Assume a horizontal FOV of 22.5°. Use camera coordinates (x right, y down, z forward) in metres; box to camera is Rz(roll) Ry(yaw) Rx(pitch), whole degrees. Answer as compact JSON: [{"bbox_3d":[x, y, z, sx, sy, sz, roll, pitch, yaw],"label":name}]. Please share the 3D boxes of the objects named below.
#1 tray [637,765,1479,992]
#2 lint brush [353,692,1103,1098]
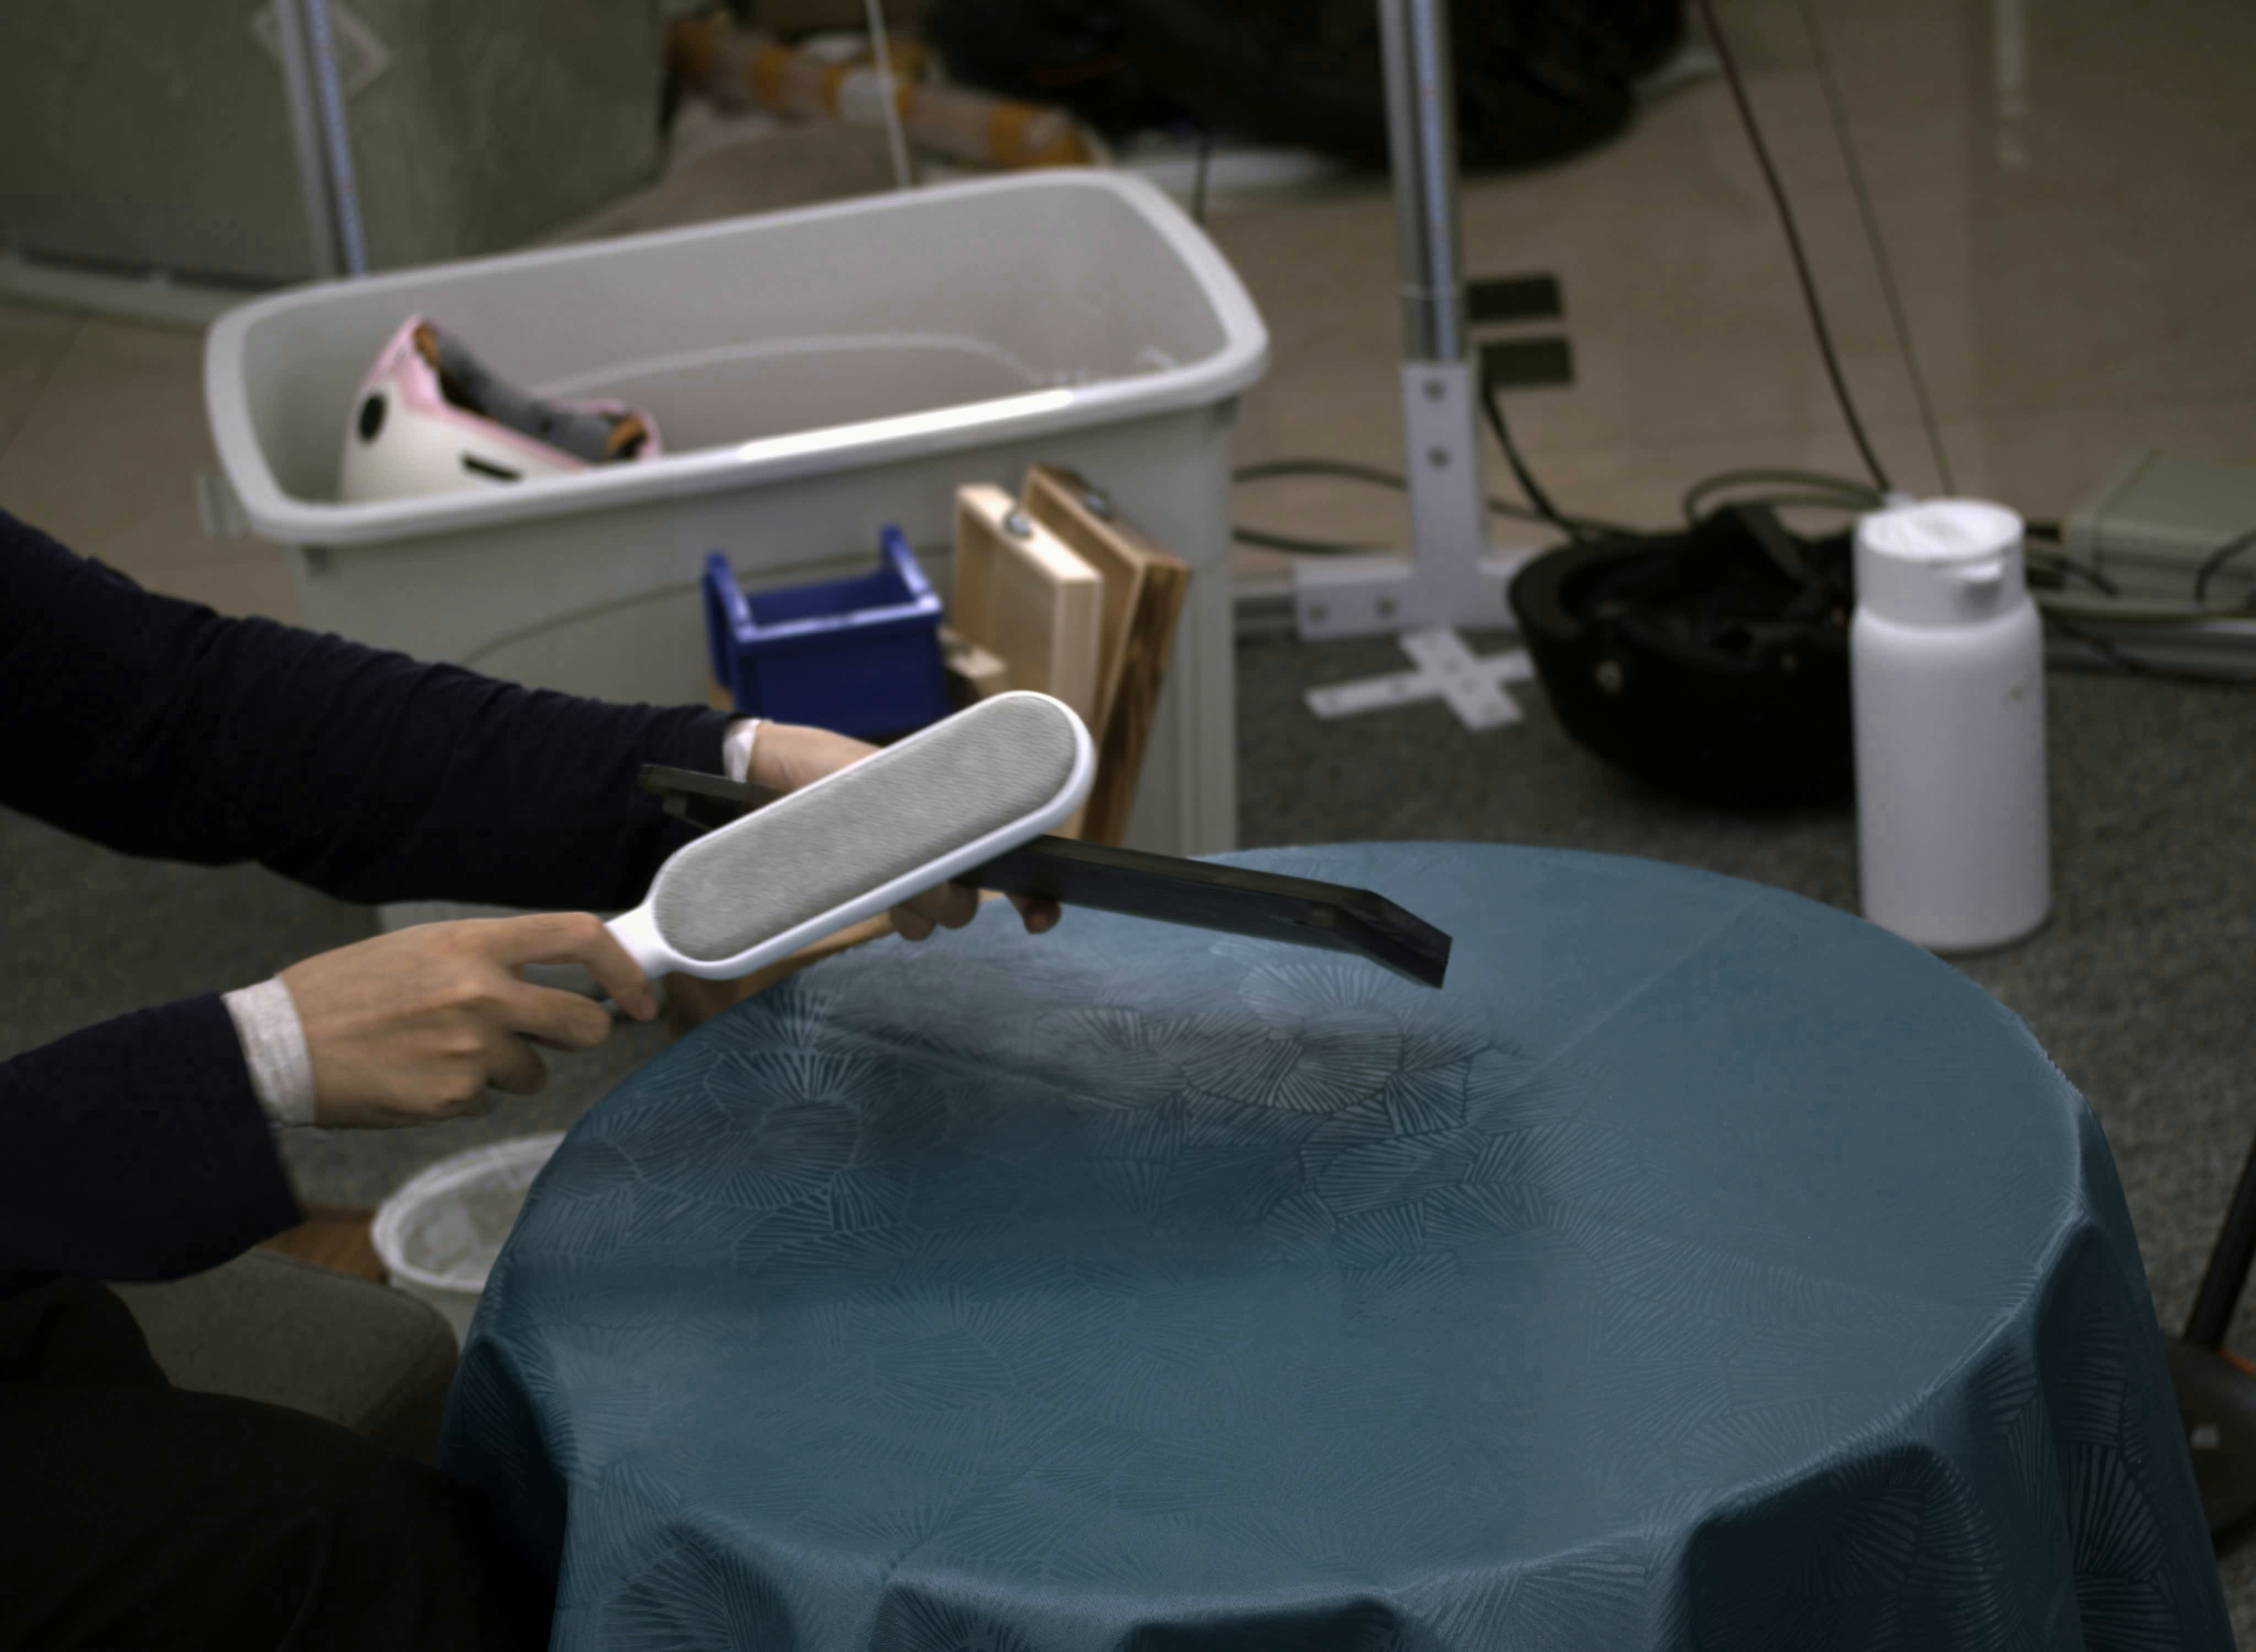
[{"bbox_3d":[-0.027,0.022,2.202,0.305,0.018,0.171,10,-7,19],"label":"tray"},{"bbox_3d":[-0.151,0.029,2.122,0.309,0.021,0.059,-25,68,5],"label":"lint brush"}]
